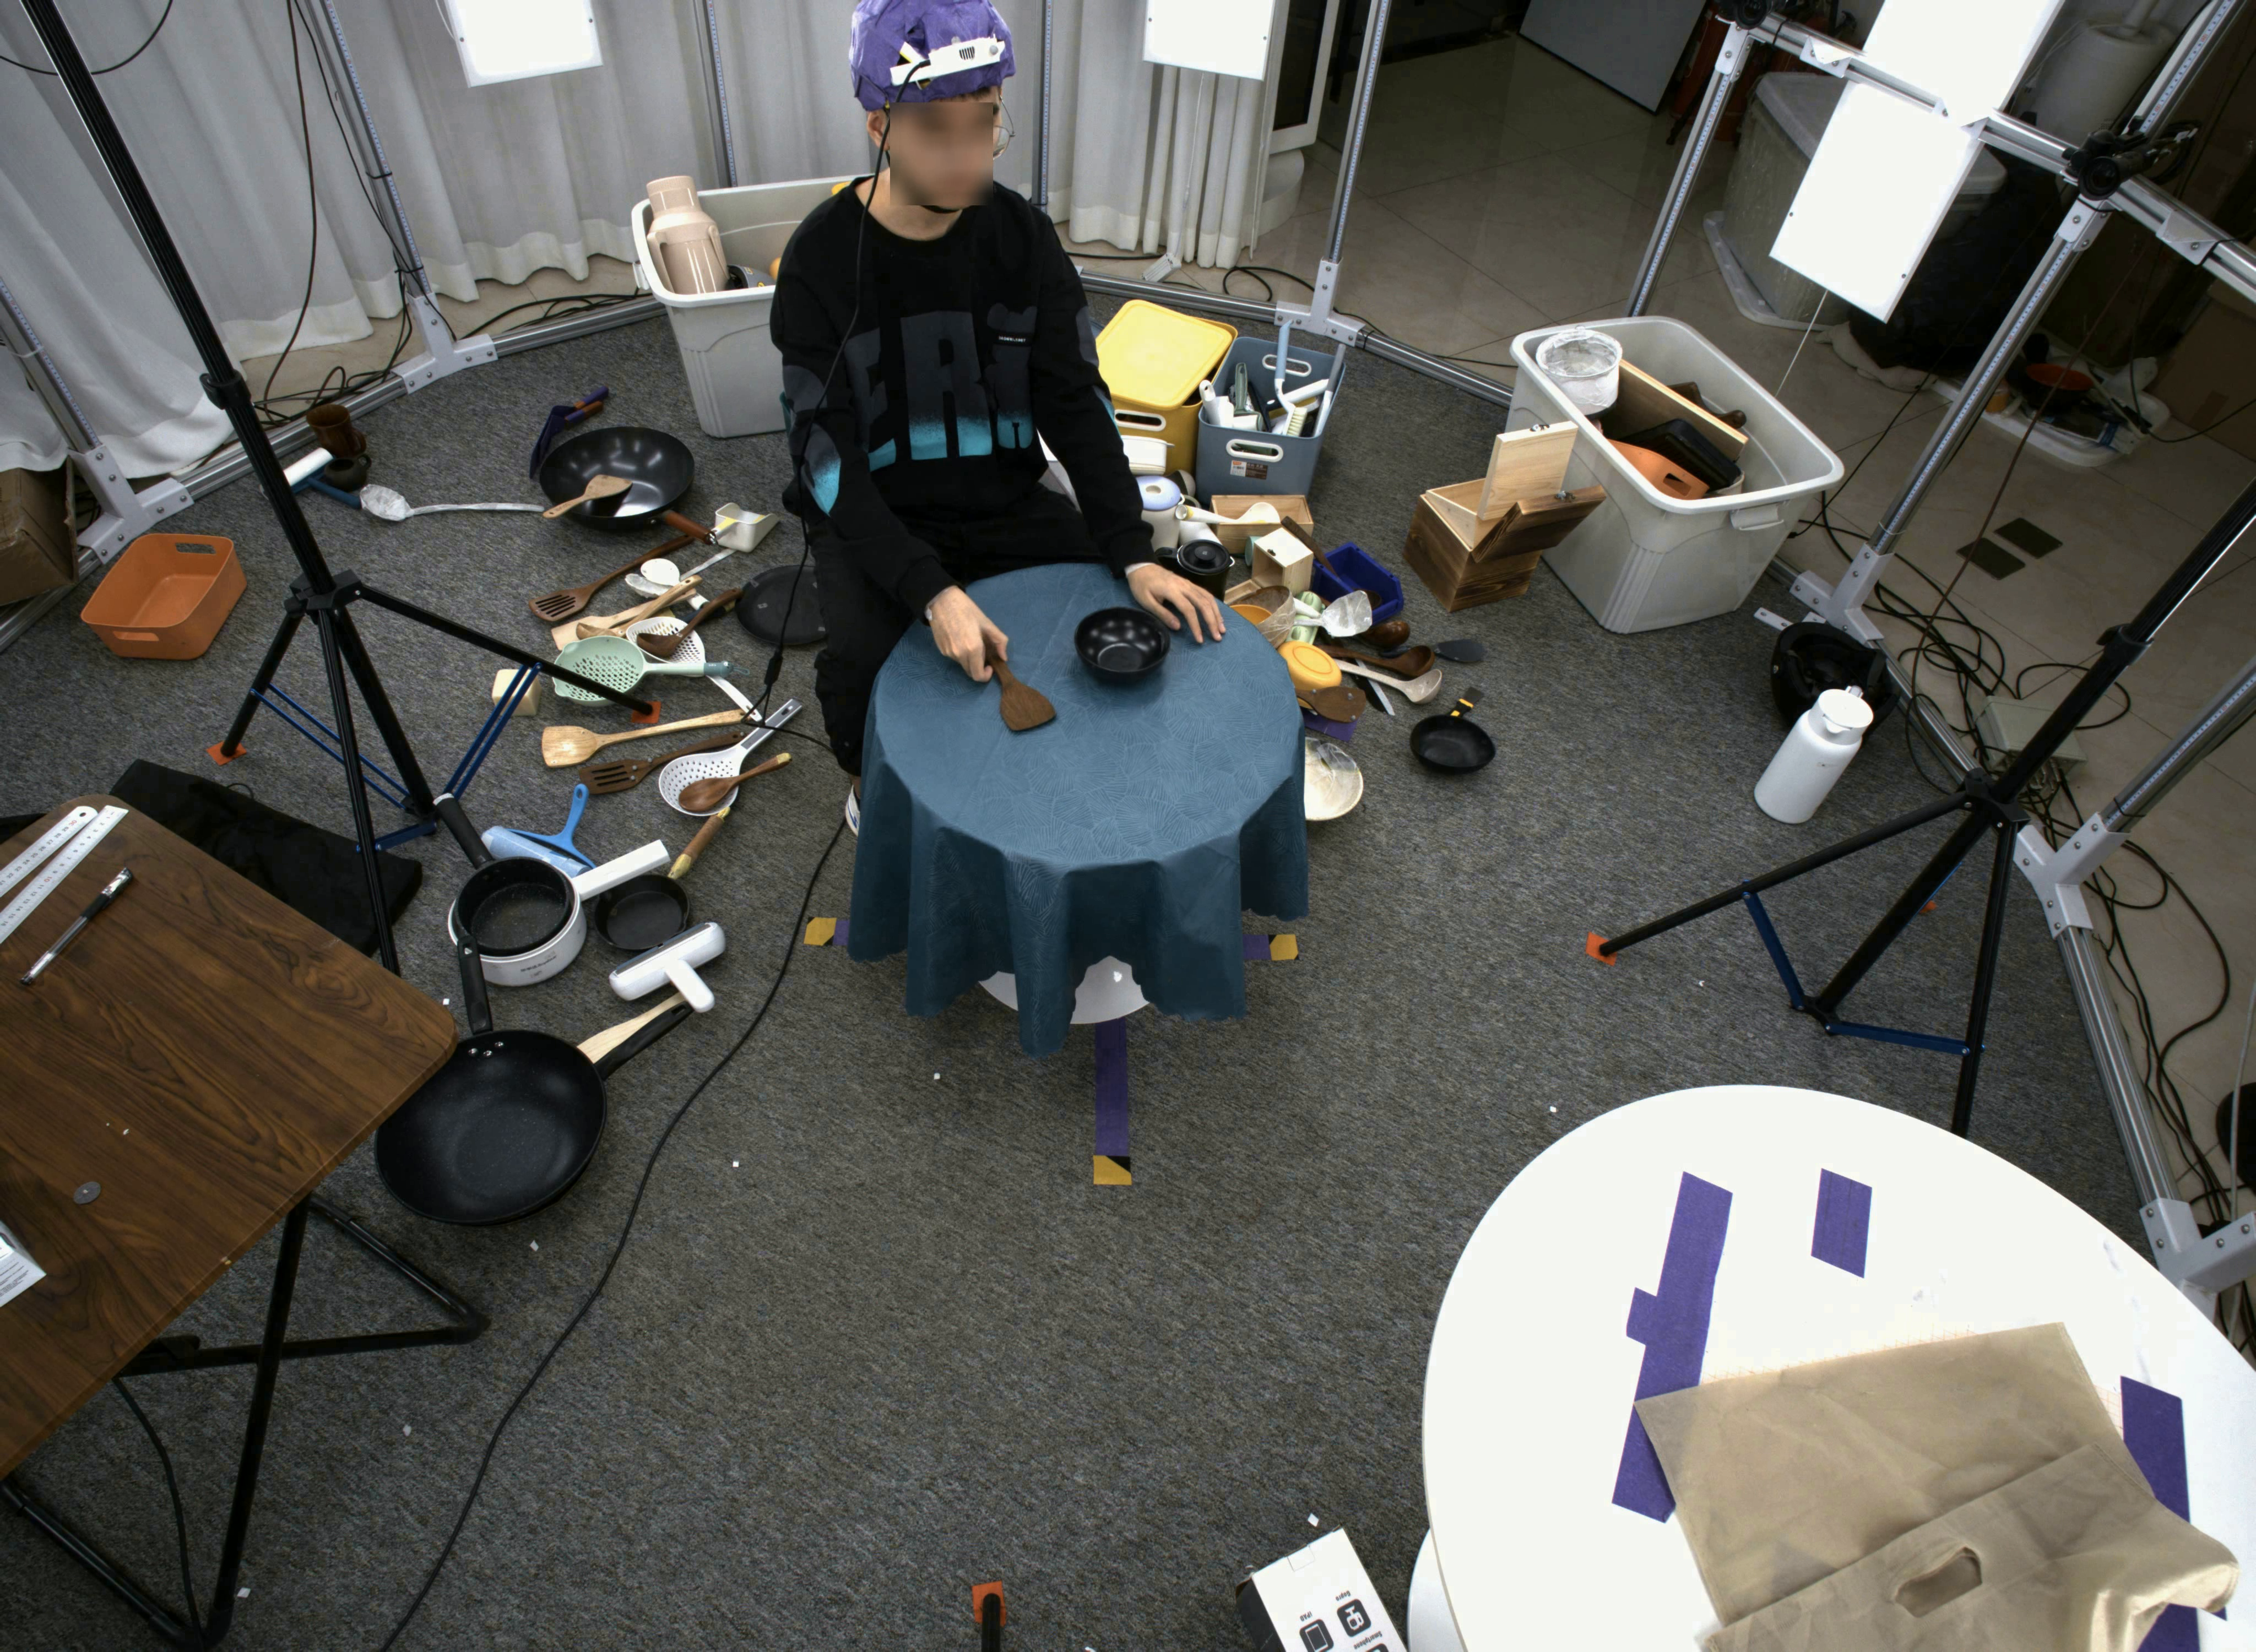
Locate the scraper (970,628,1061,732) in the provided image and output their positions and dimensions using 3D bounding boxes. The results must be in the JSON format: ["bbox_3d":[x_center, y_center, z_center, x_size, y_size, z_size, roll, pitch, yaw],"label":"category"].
[{"bbox_3d":[-0.173,-0.213,1.848,0.076,0.010,0.216,-20,56,-20],"label":"scraper"}]

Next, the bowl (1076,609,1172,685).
[{"bbox_3d":[-0.006,-0.252,1.873,0.140,0.048,0.143,0,50,0],"label":"bowl"}]
